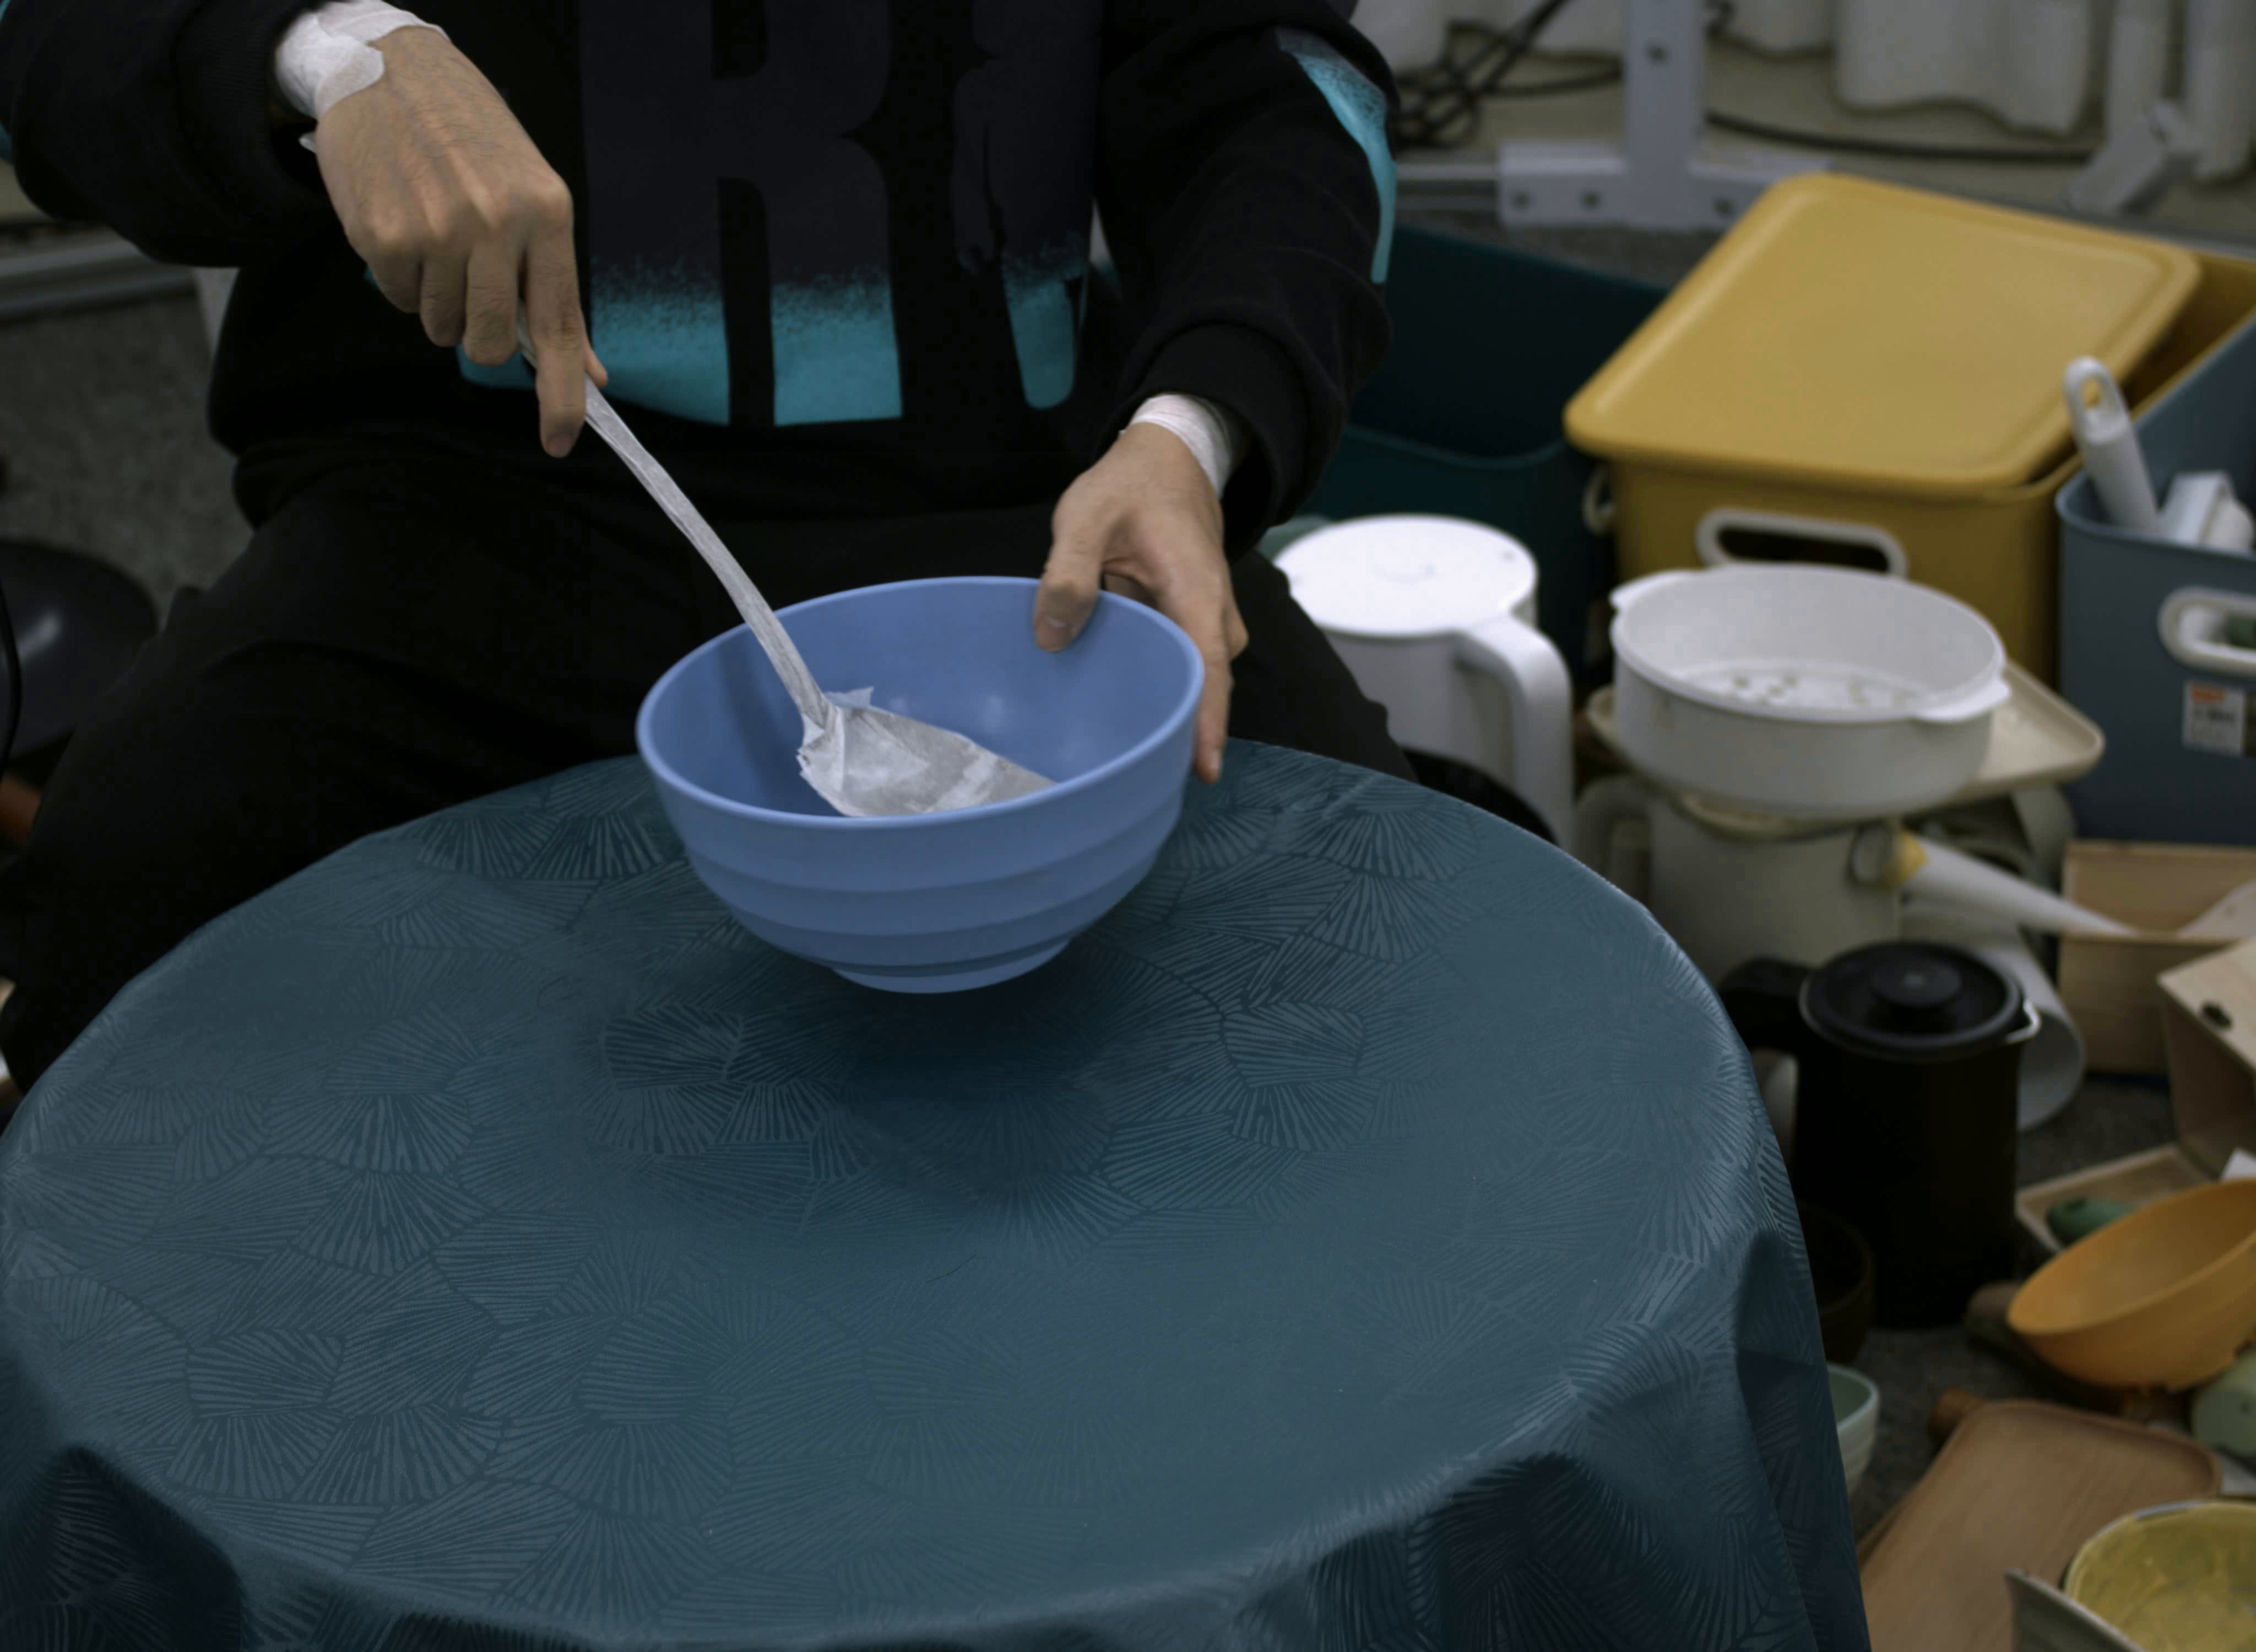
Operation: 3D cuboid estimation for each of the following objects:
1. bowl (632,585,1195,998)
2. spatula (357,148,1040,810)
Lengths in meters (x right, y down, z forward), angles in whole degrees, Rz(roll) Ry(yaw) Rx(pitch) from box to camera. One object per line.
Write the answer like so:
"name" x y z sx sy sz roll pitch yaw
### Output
"bowl" -0.068 -0.003 1.953 0.195 0.094 0.199 -6 25 3
"spatula" -0.149 -0.110 1.980 0.365 0.044 0.100 50 31 4
